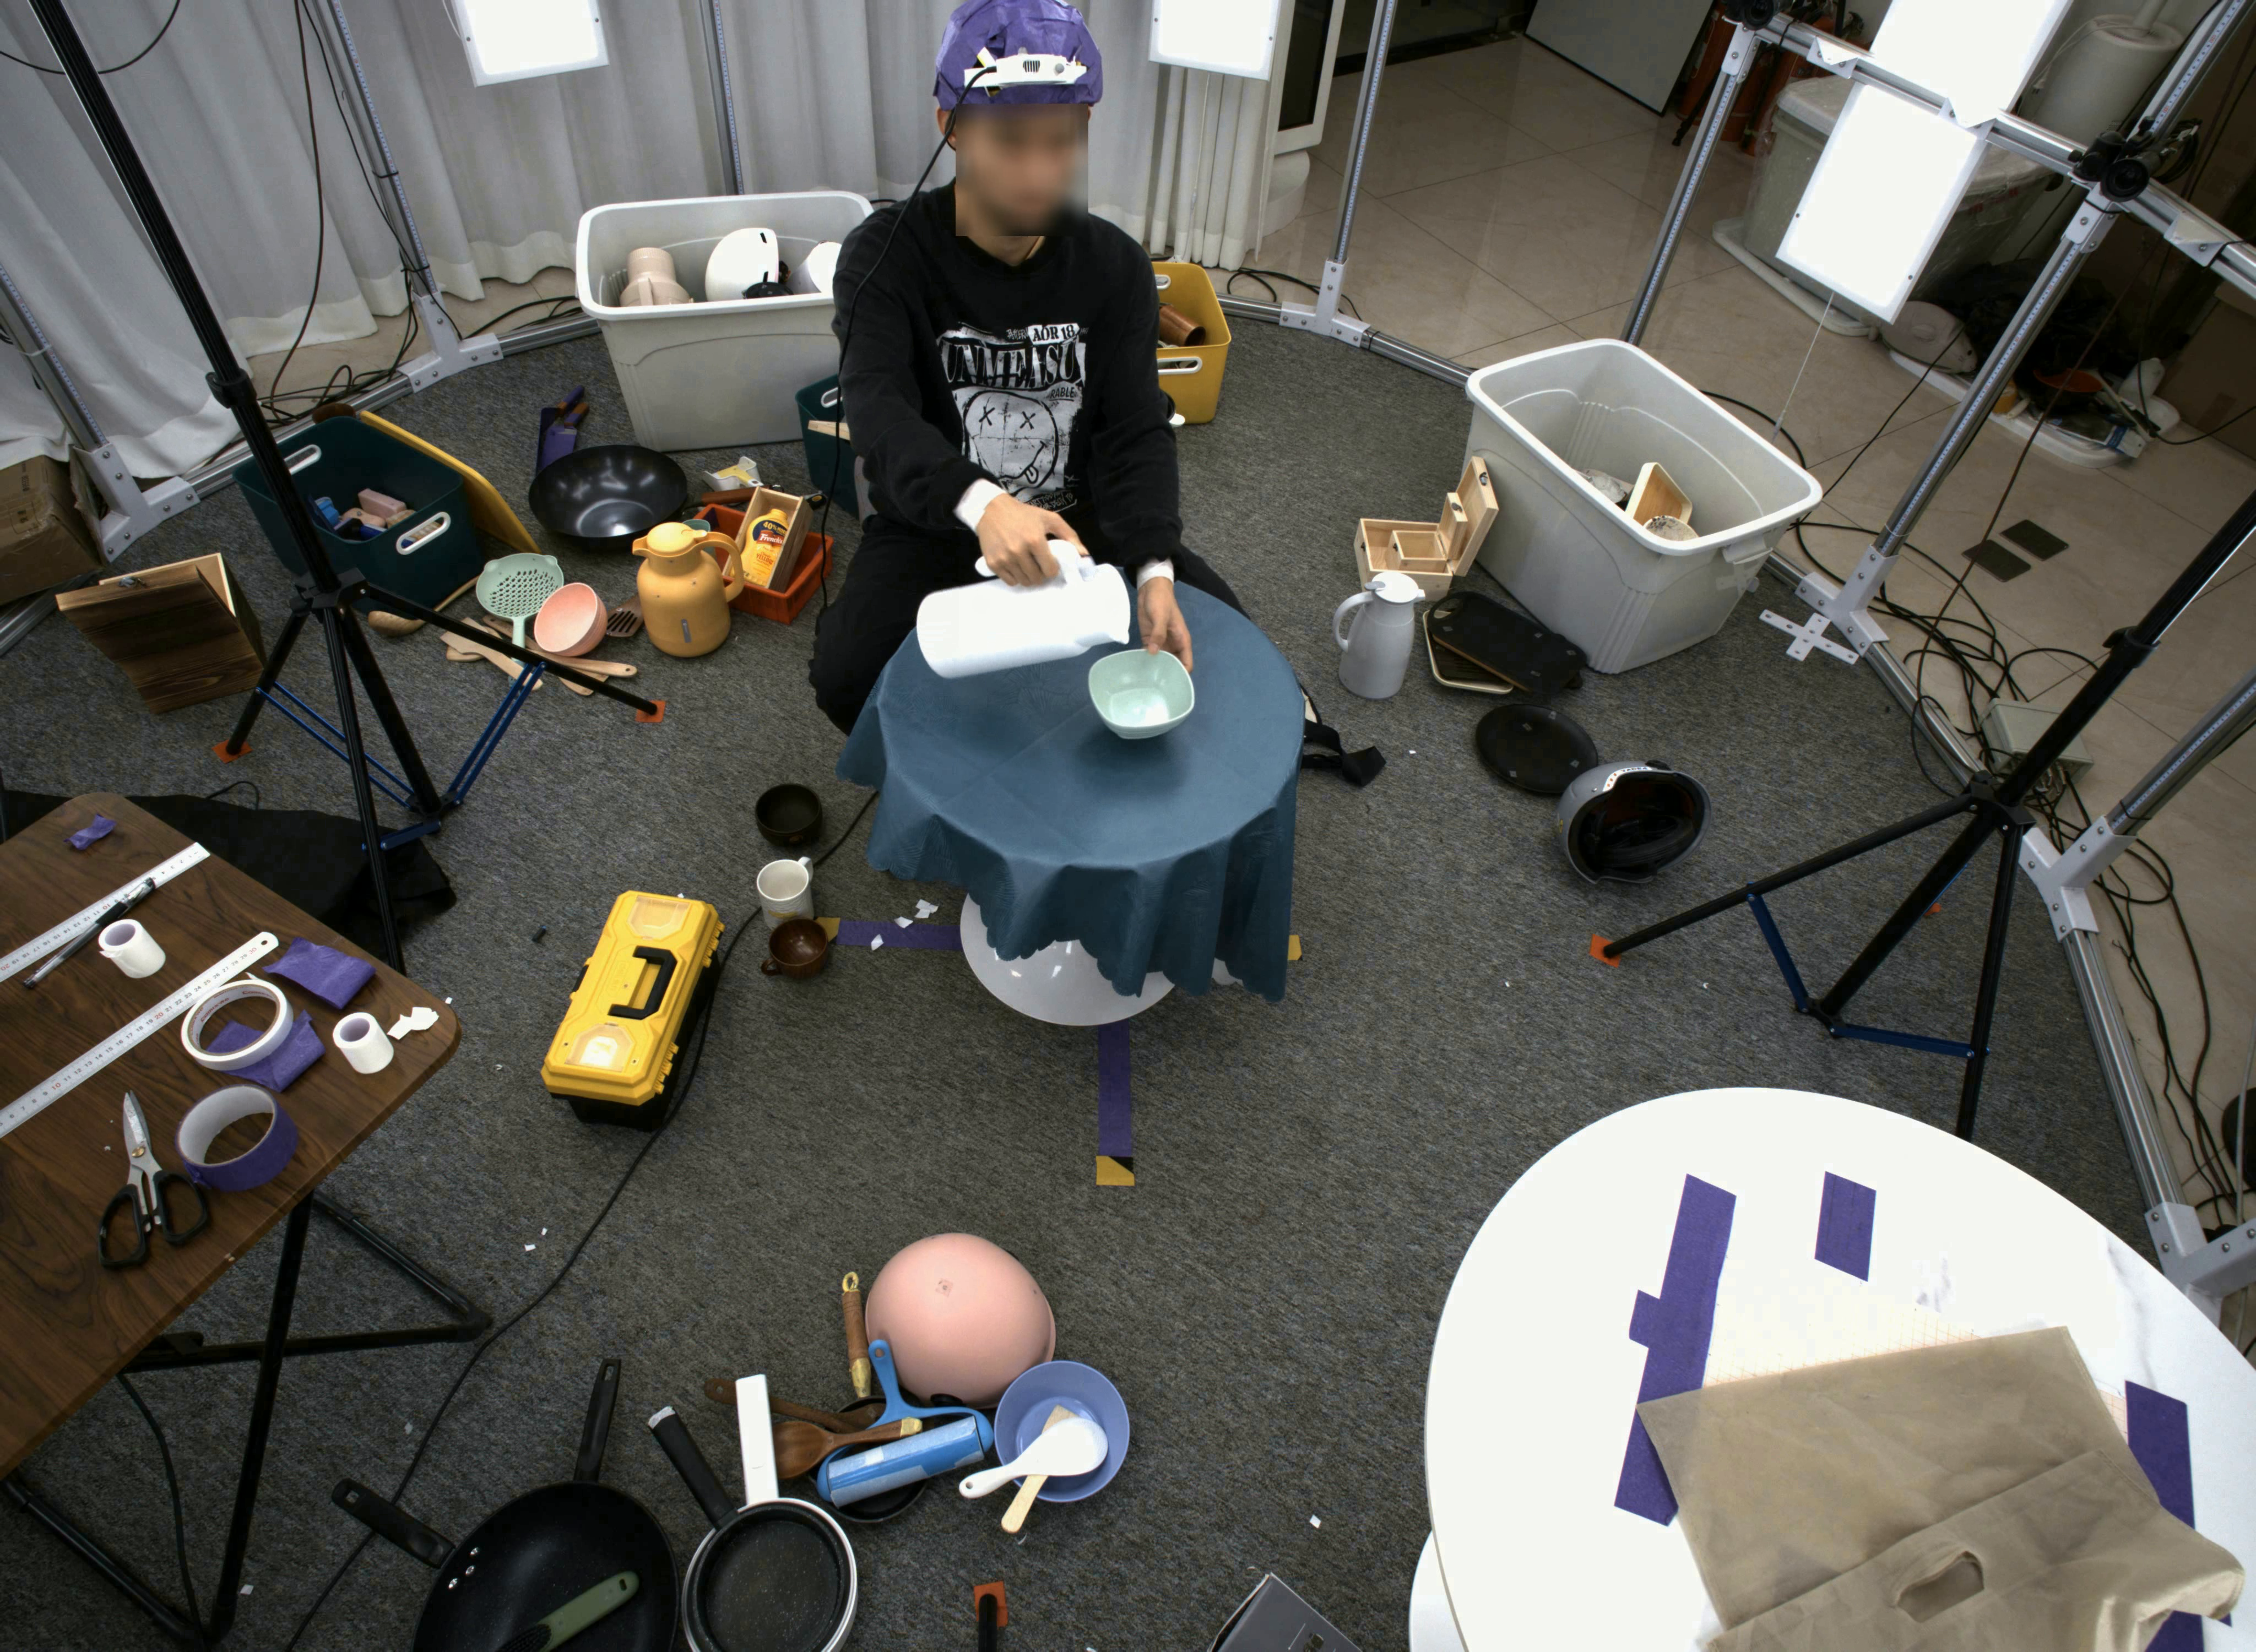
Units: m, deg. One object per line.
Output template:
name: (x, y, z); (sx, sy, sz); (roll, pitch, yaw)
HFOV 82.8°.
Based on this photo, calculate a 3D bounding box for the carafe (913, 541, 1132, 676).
carafe: (-0.146, -0.278, 1.662); (0.269, 0.169, 0.126); (-4, 51, 27)

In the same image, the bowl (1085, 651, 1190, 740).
bowl: (0.012, -0.169, 1.744); (0.151, 0.057, 0.155); (1, 52, -1)
